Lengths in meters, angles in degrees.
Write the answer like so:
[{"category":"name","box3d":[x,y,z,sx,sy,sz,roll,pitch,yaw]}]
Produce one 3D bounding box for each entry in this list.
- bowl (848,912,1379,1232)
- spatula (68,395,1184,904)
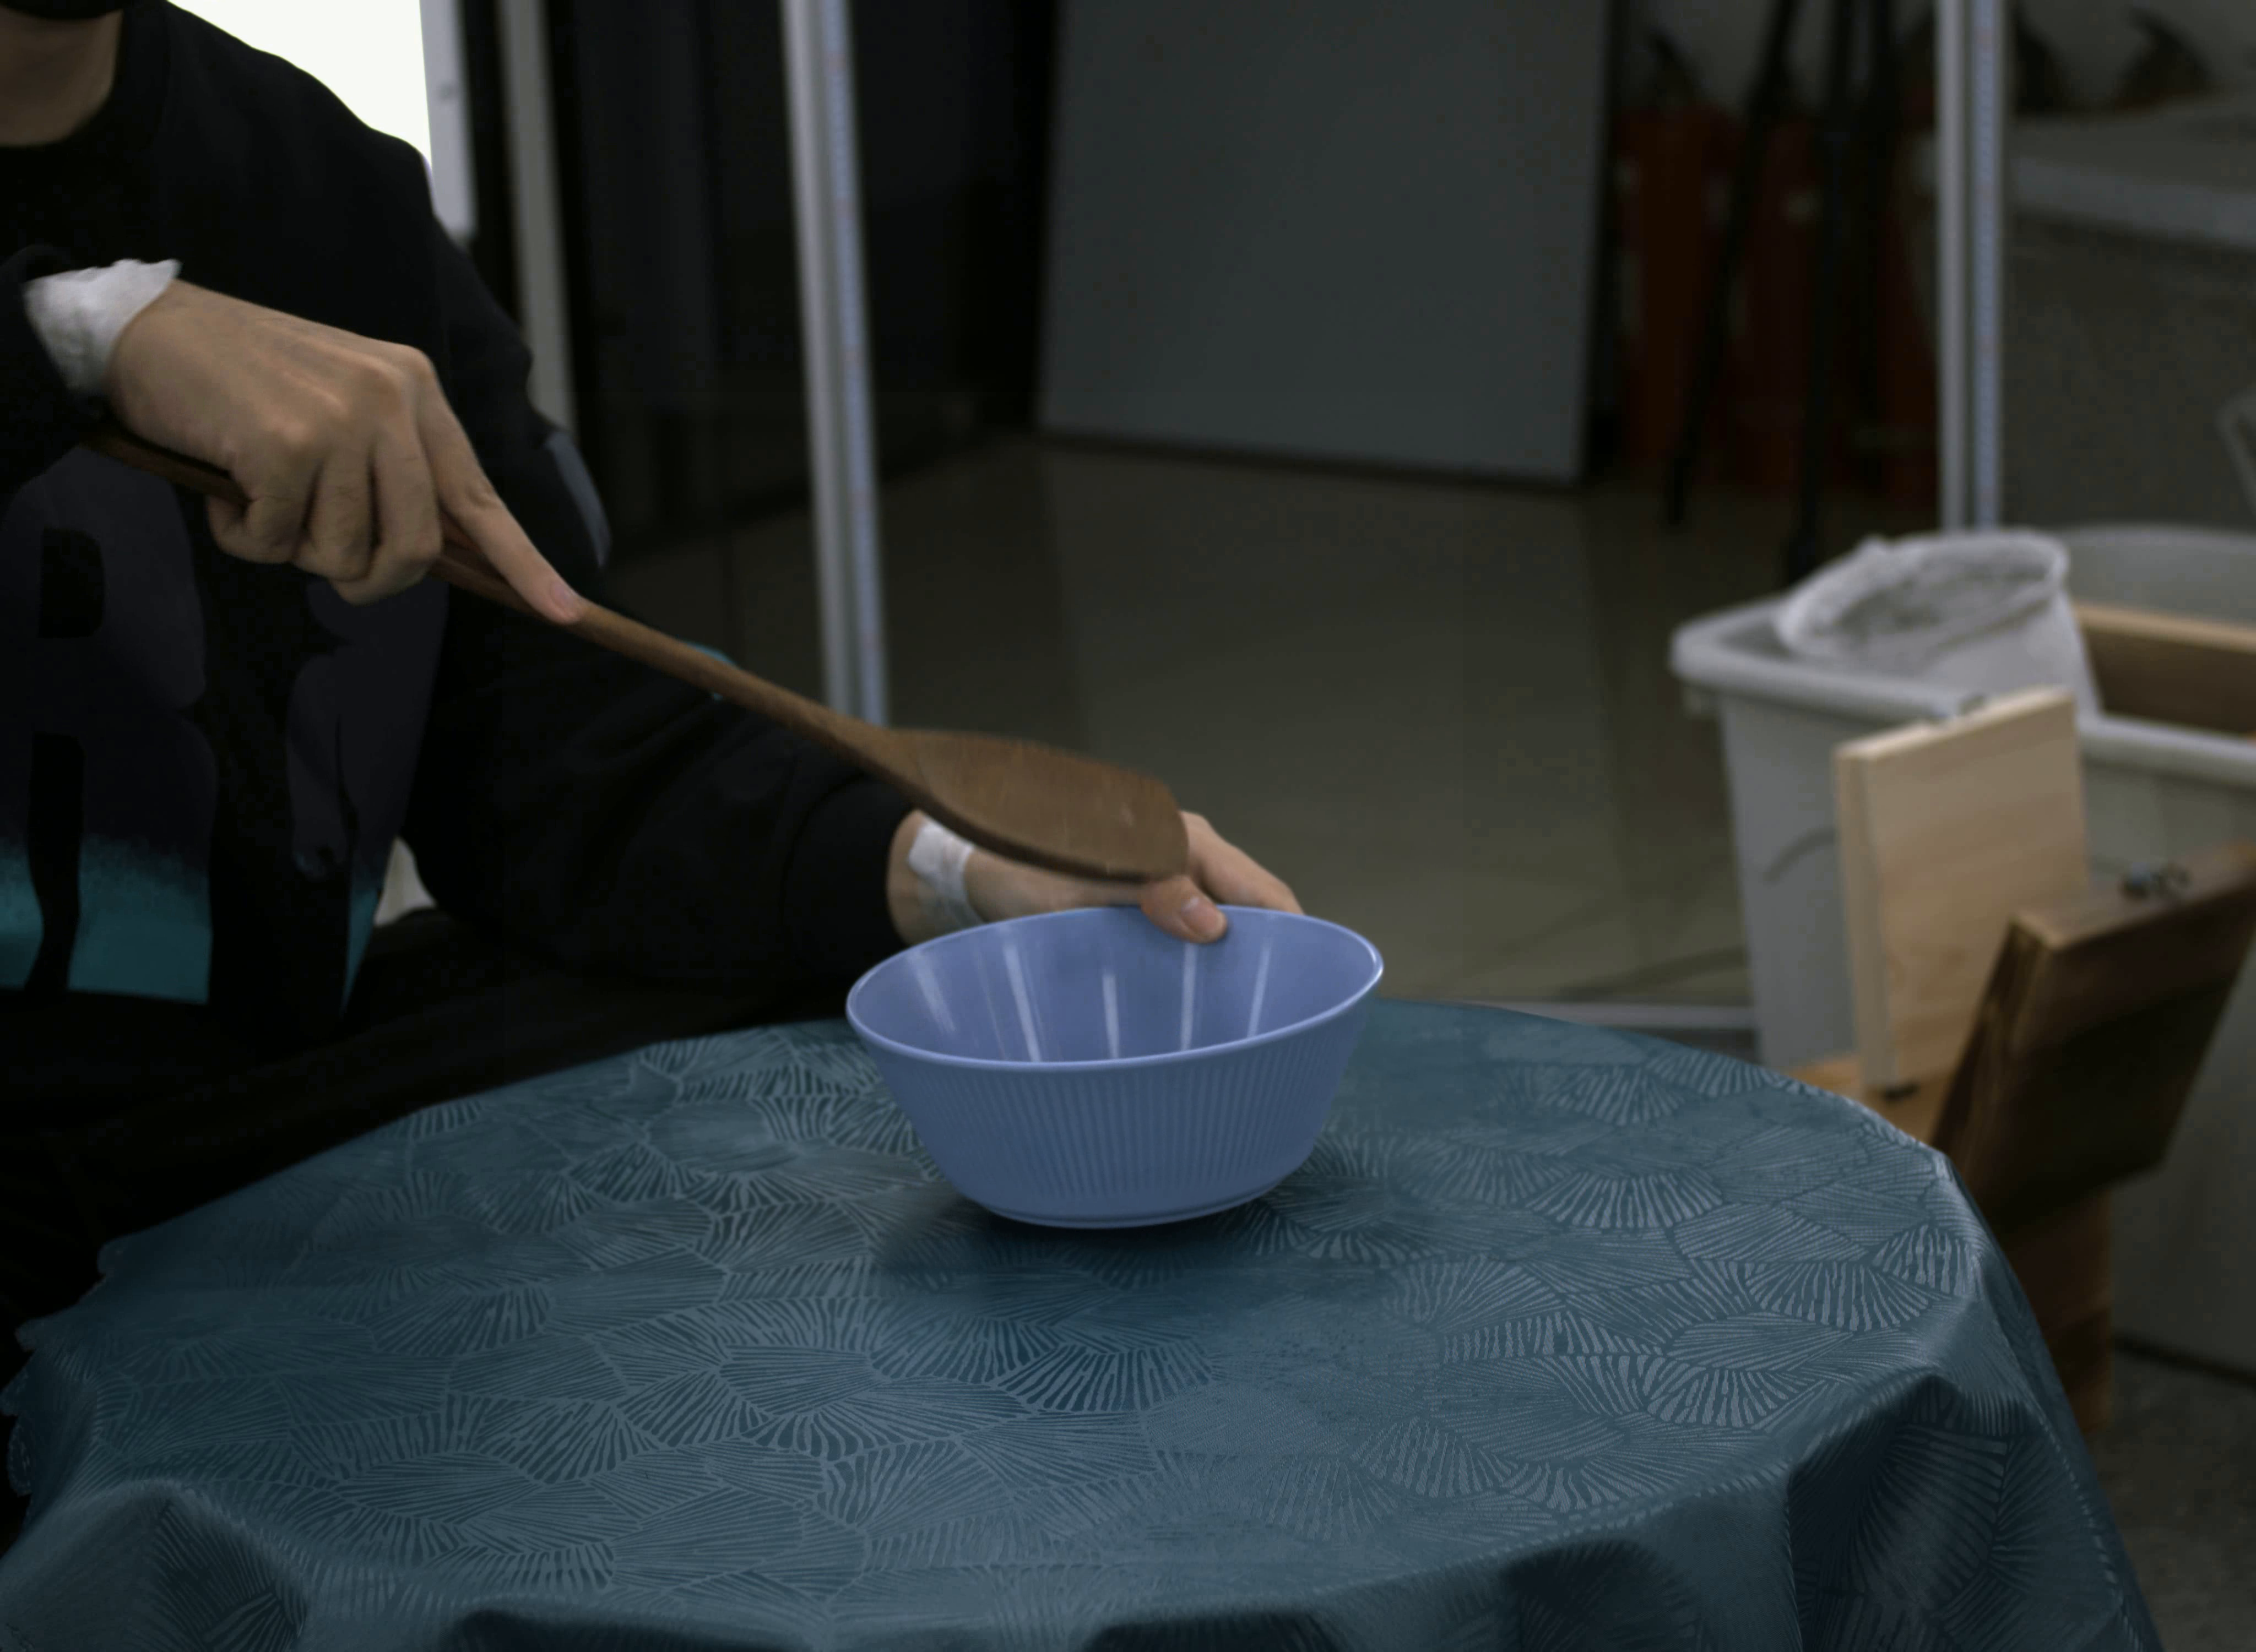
[{"category":"bowl","box3d":[-0.002,0.082,1.751,0.174,0.071,0.176,-6,13,0]},{"category":"spatula","box3d":[-0.157,-0.059,1.725,0.382,0.016,0.096,24,19,-4]}]
